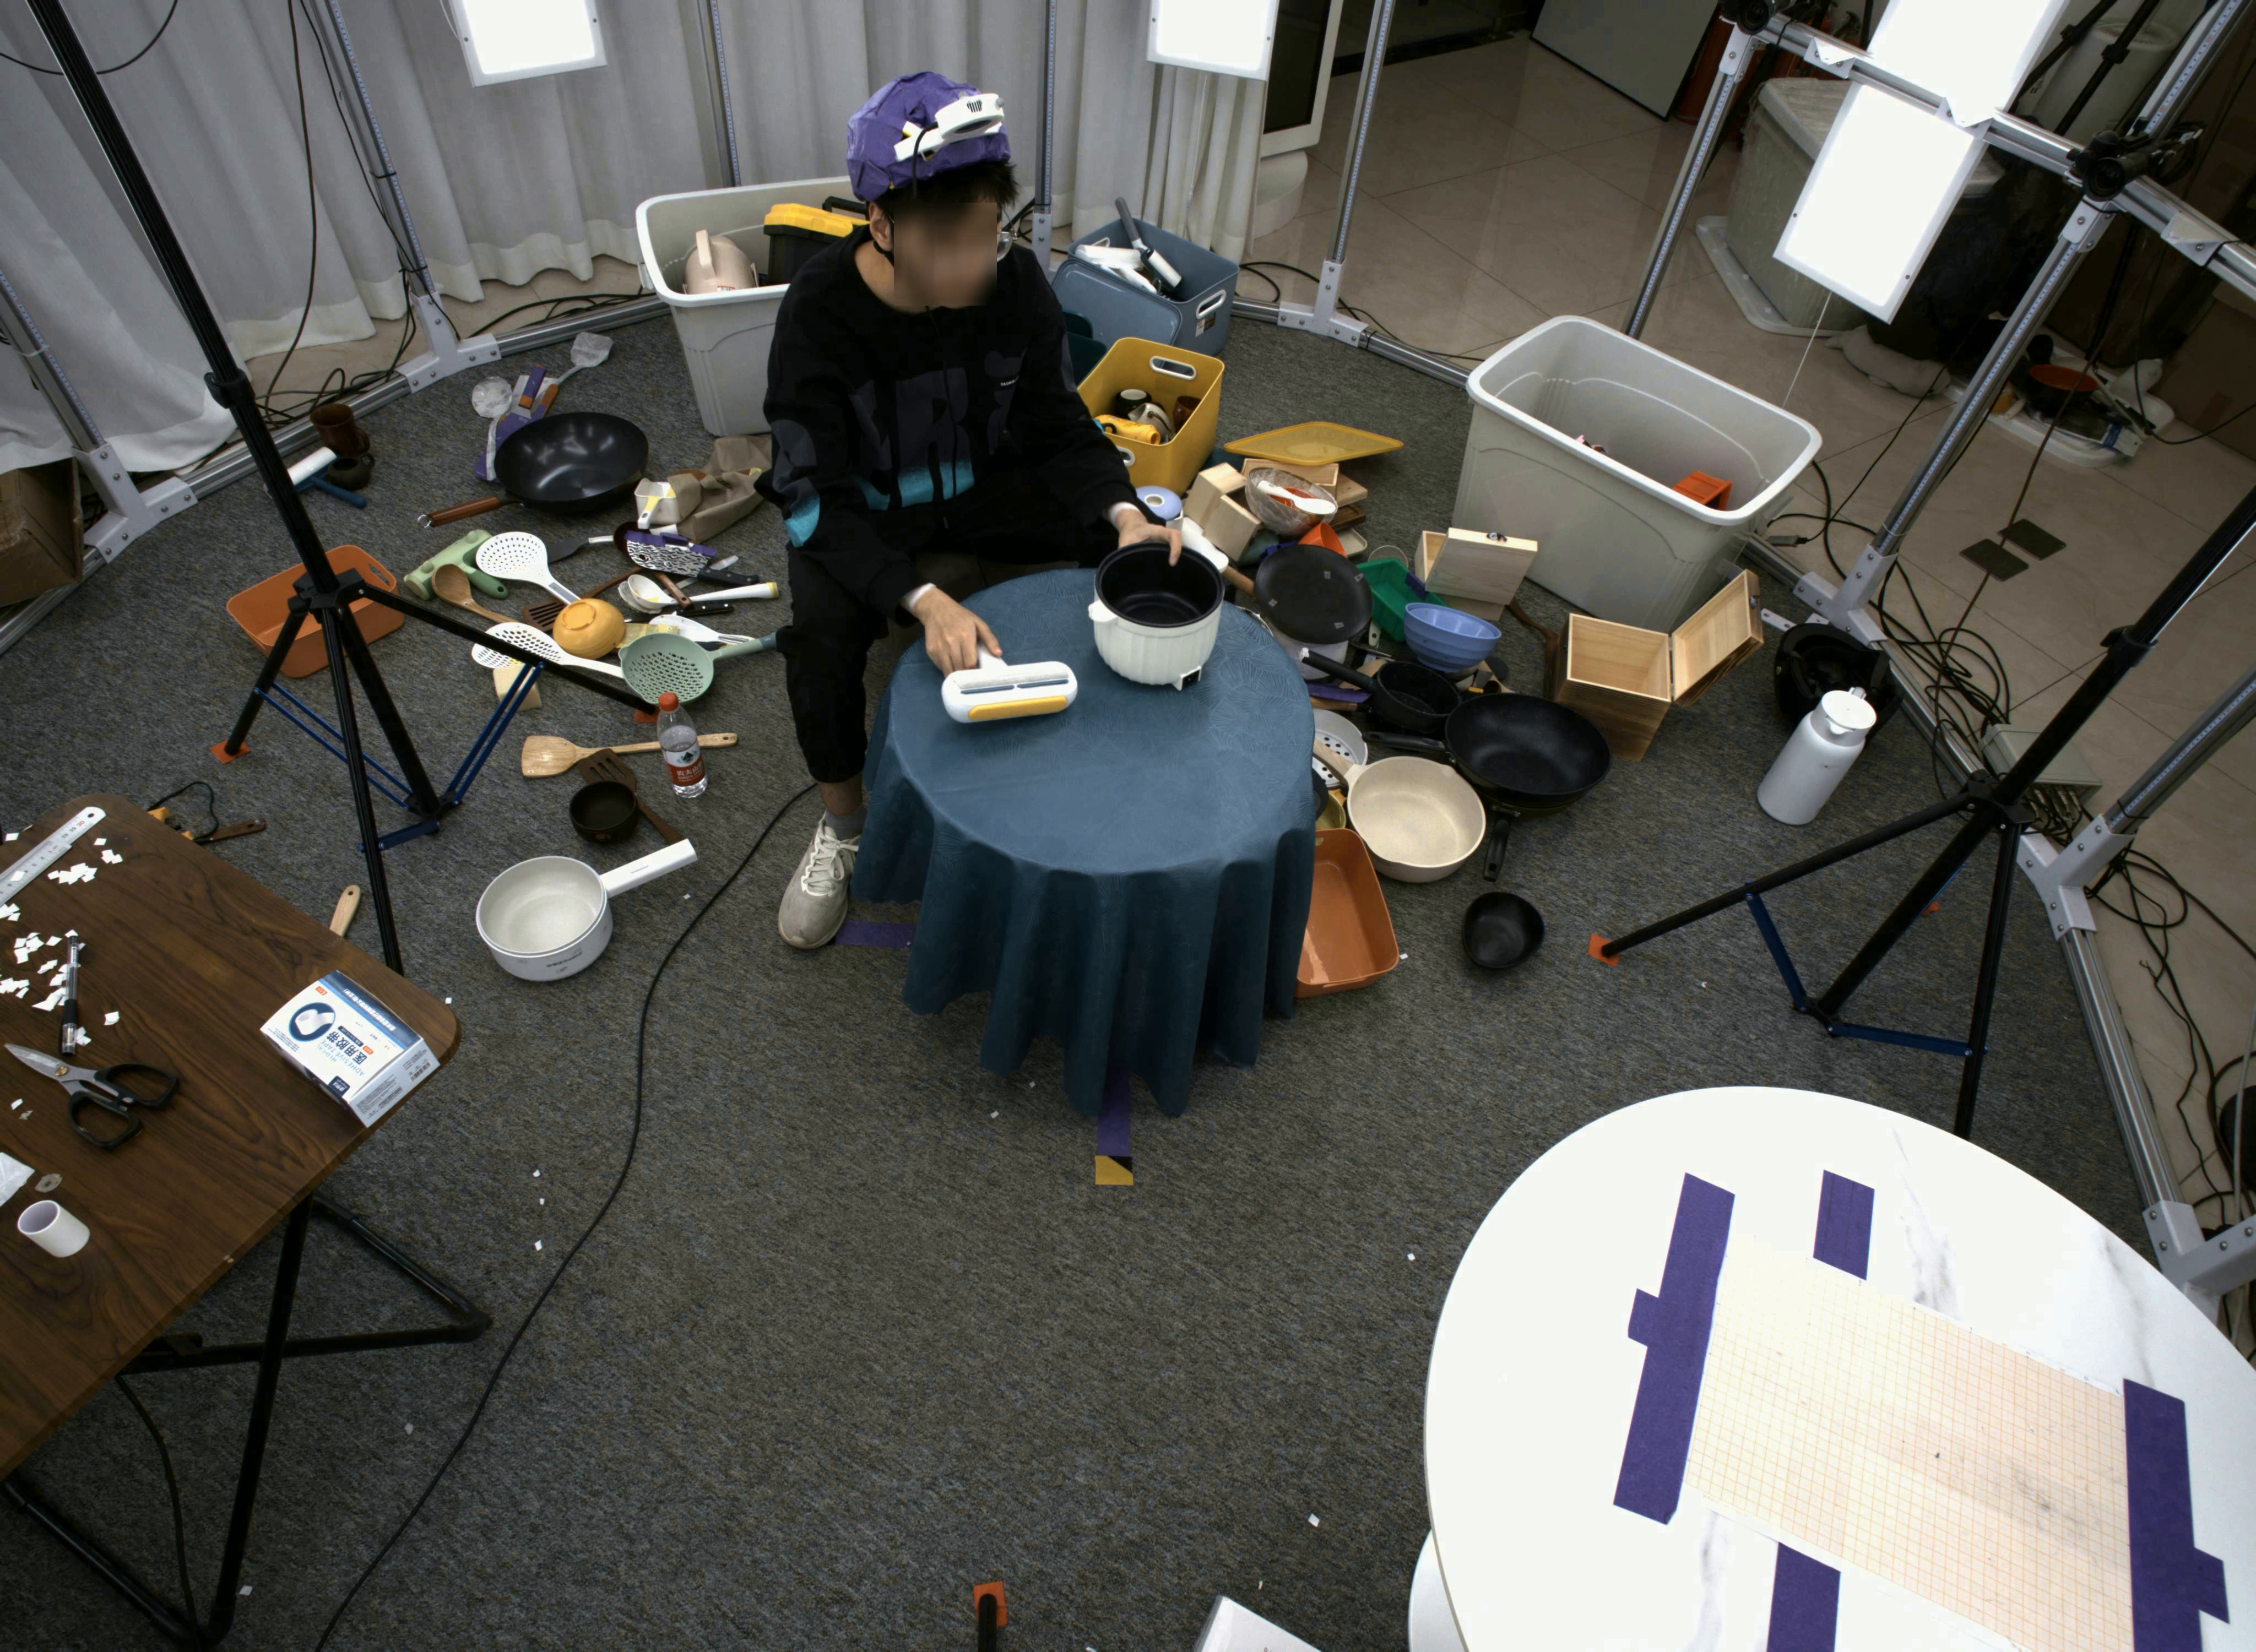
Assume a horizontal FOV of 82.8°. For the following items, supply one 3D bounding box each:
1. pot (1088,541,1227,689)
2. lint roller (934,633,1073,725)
[{"bbox_3d":[0.036,-0.301,1.841,0.242,0.139,0.194,-28,59,-27],"label":"pot"},{"bbox_3d":[-0.190,-0.220,1.803,0.192,0.072,0.197,-9,49,-20],"label":"lint roller"}]
